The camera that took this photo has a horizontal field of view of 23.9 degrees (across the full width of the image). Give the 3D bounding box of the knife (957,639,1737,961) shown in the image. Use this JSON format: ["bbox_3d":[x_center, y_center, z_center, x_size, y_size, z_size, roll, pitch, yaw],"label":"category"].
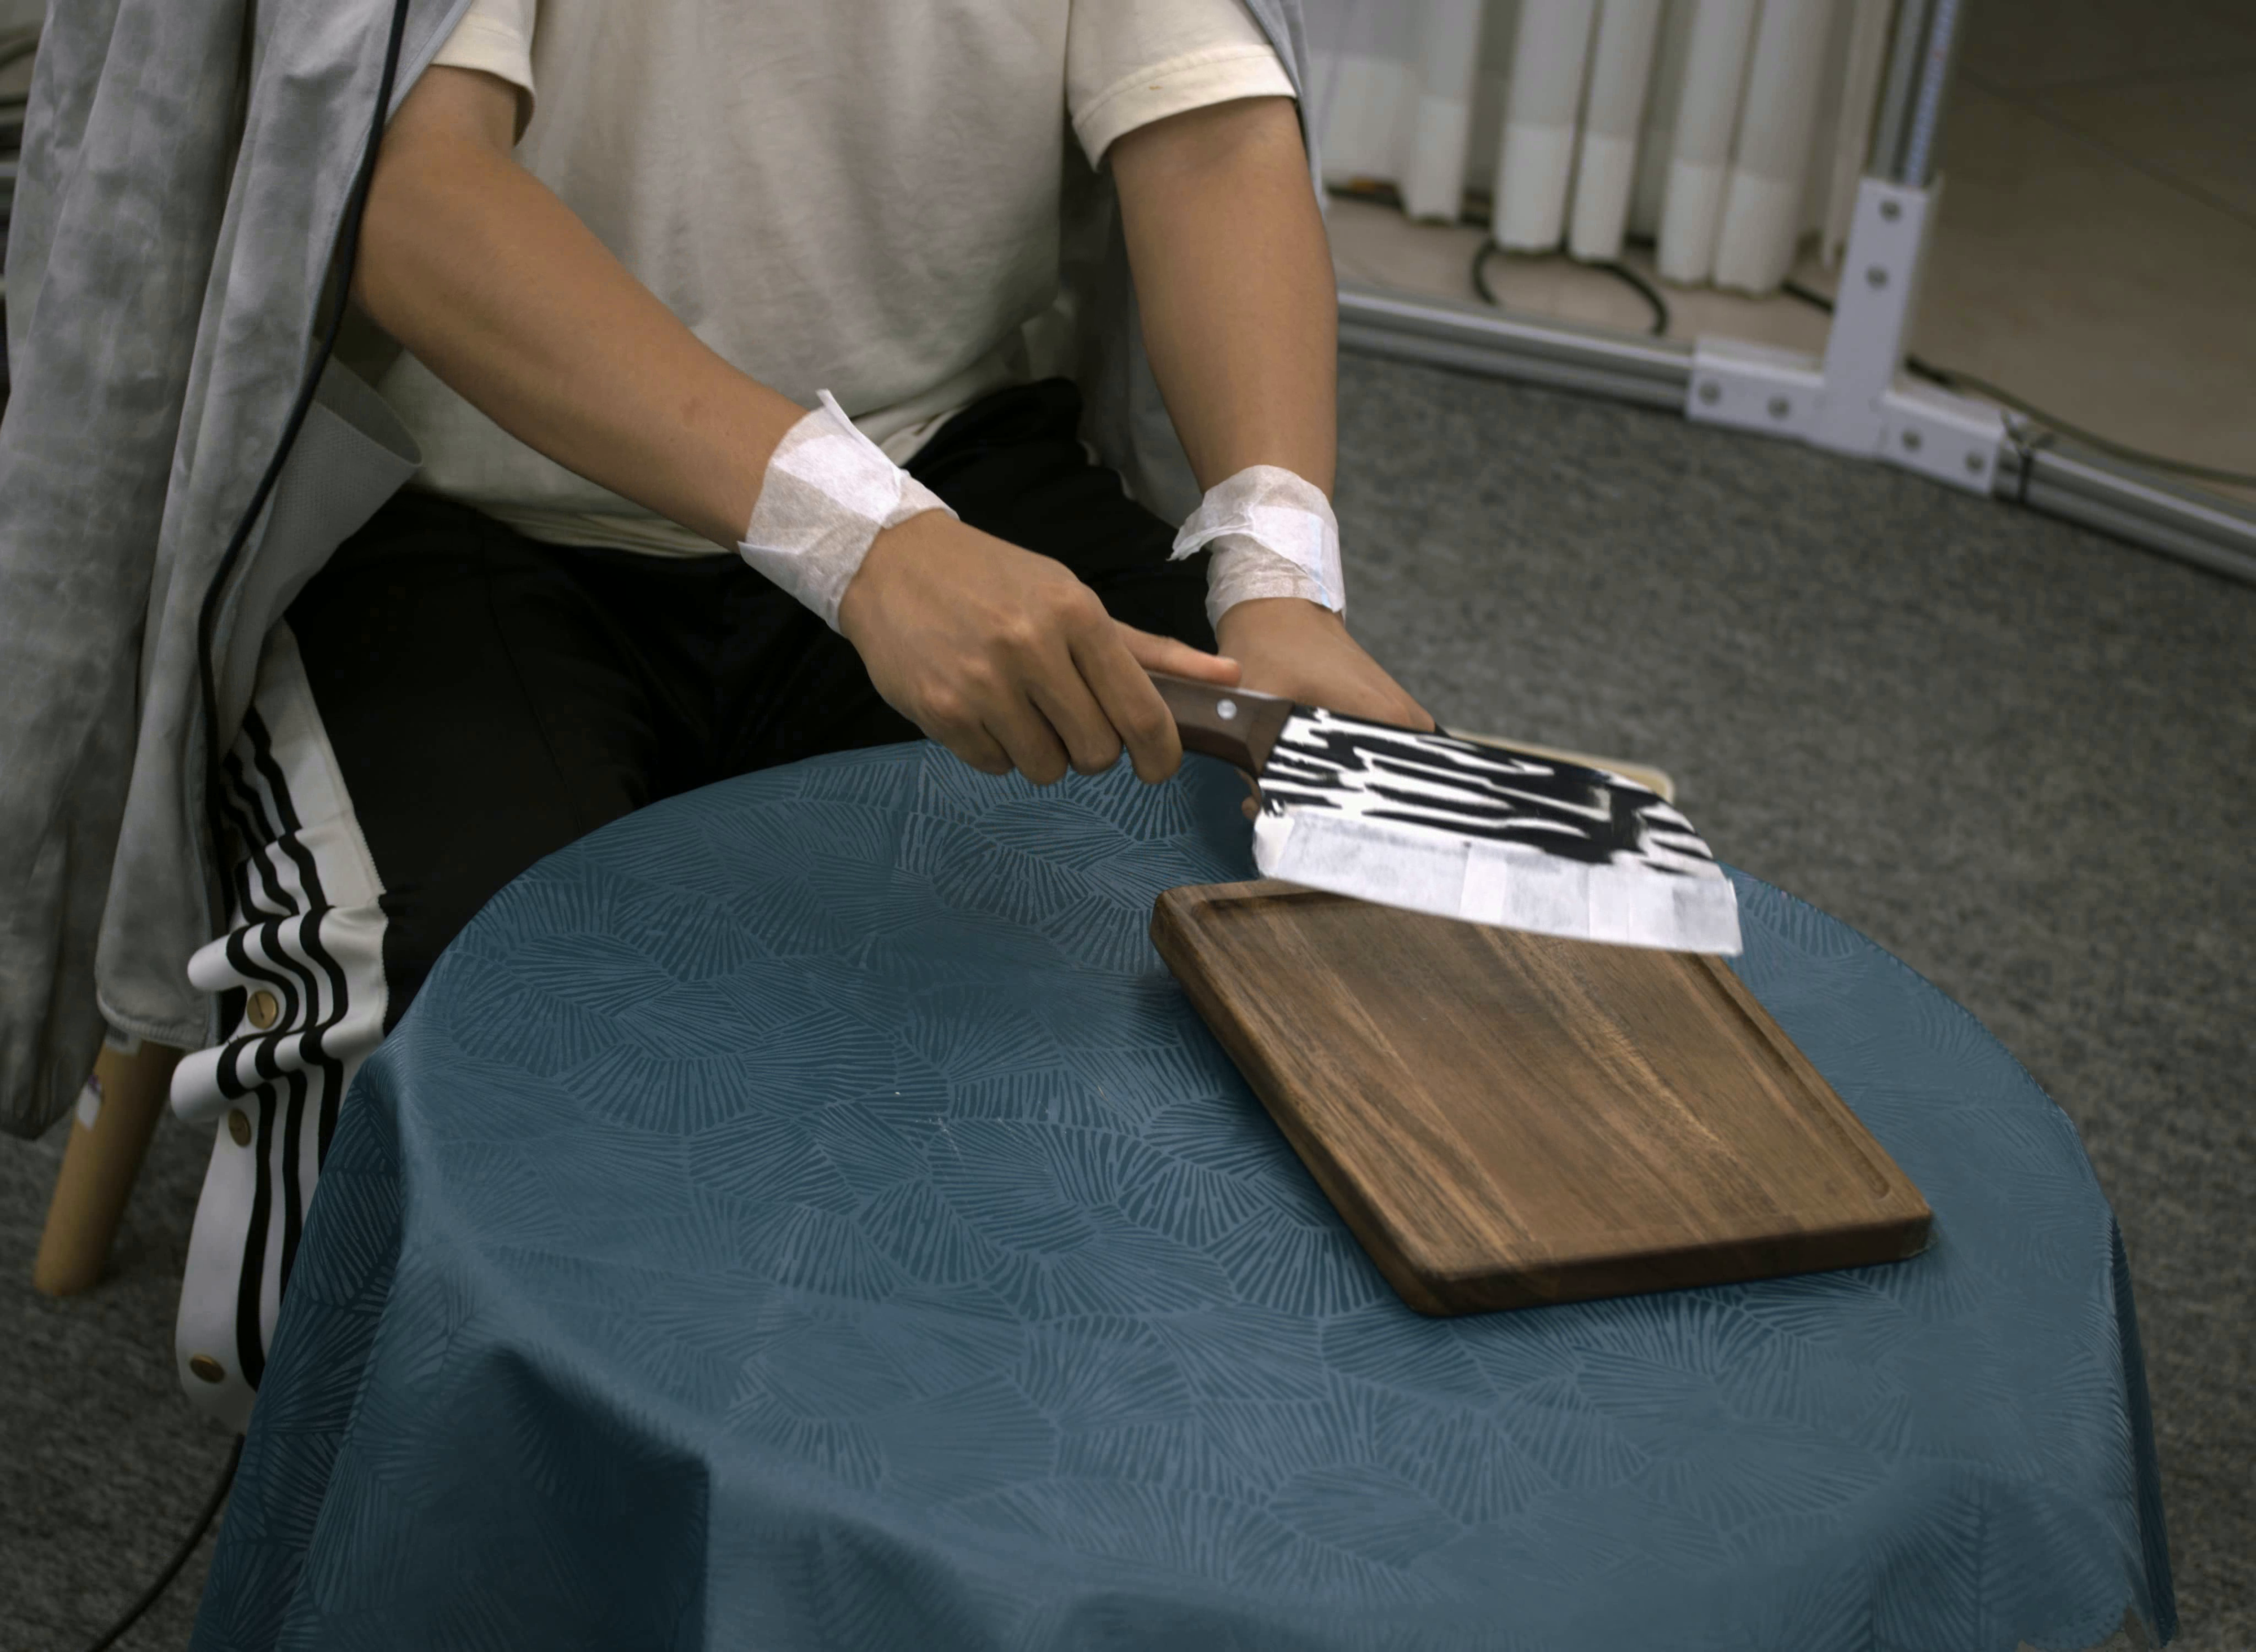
[{"bbox_3d":[0.076,-0.008,1.902,0.299,0.024,0.068,14,70,9],"label":"knife"}]

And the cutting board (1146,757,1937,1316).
[{"bbox_3d":[0.124,0.060,1.916,0.200,0.023,0.355,-5,31,-22],"label":"cutting board"}]
